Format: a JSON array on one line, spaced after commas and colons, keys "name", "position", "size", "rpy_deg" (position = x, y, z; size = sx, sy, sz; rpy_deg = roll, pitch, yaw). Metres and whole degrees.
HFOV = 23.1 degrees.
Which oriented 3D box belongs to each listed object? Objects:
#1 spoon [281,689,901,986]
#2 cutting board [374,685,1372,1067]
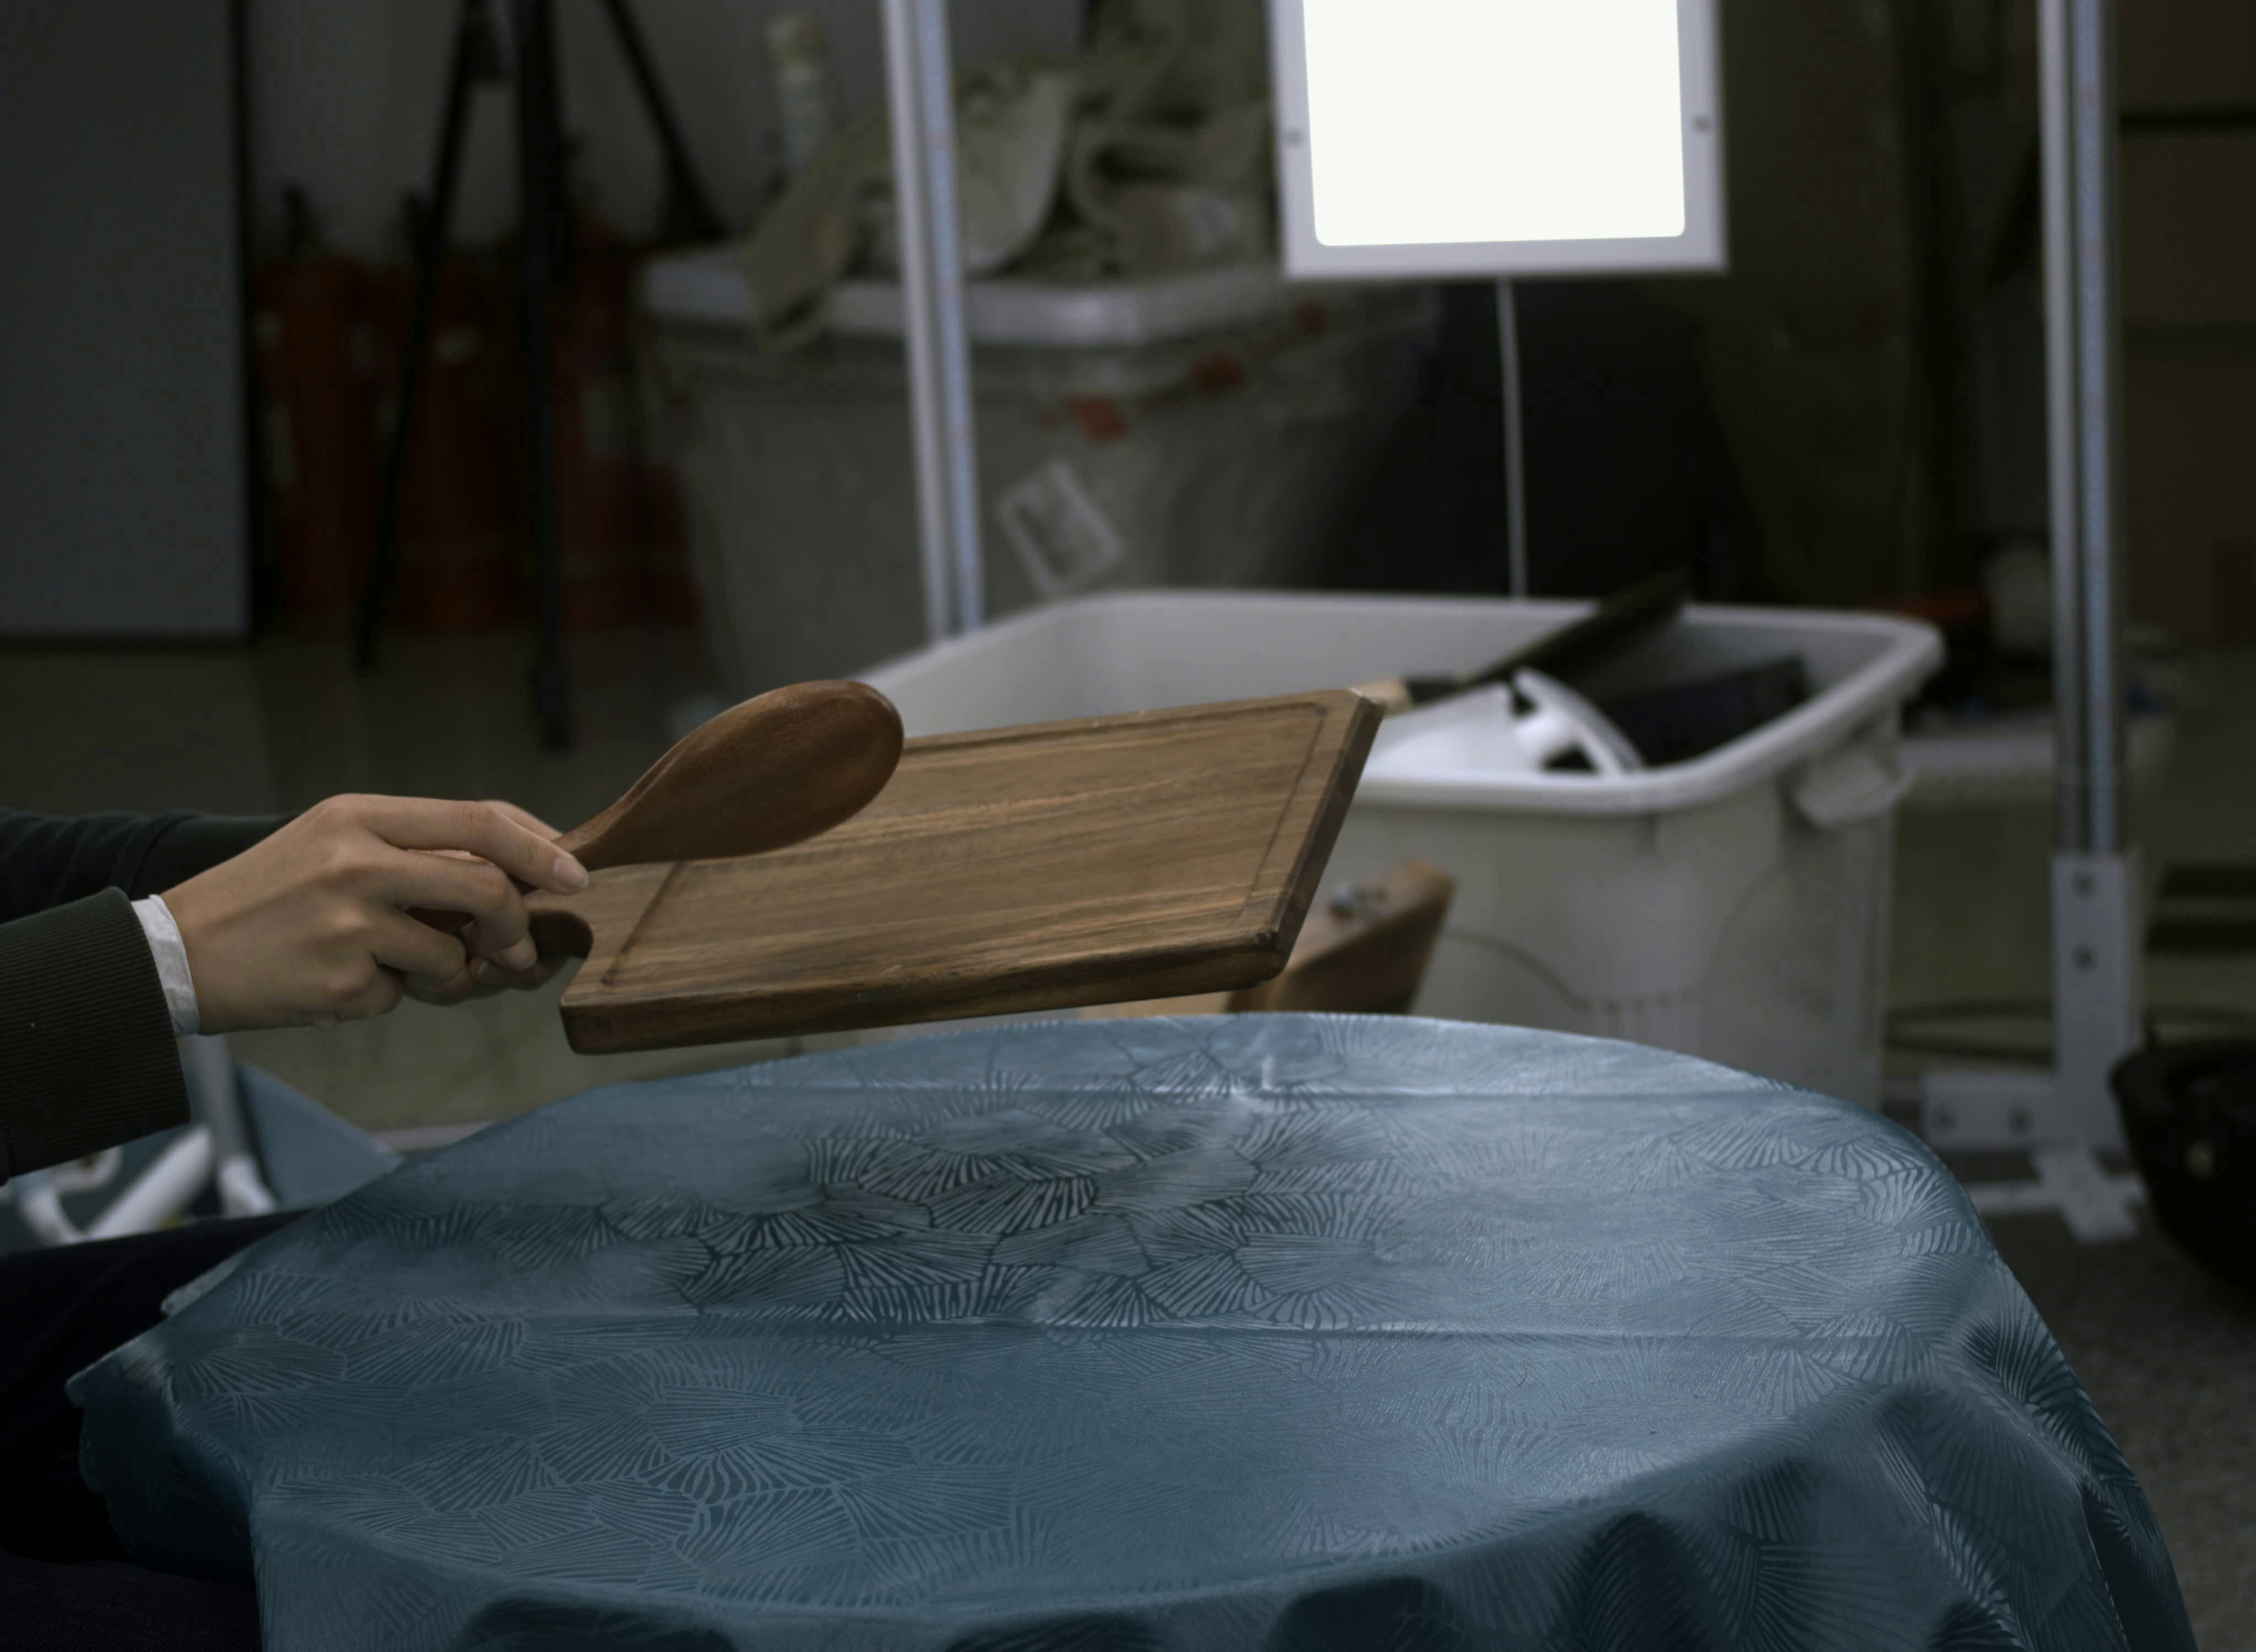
[{"name": "spoon", "position": [-0.174, 0.008, 1.810], "size": [0.214, 0.075, 0.017], "rpy_deg": [-20, 55, -4]}, {"name": "cutting board", "position": [-0.098, 0.021, 1.901], "size": [0.356, 0.023, 0.198], "rpy_deg": [-7, 26, 18]}]
